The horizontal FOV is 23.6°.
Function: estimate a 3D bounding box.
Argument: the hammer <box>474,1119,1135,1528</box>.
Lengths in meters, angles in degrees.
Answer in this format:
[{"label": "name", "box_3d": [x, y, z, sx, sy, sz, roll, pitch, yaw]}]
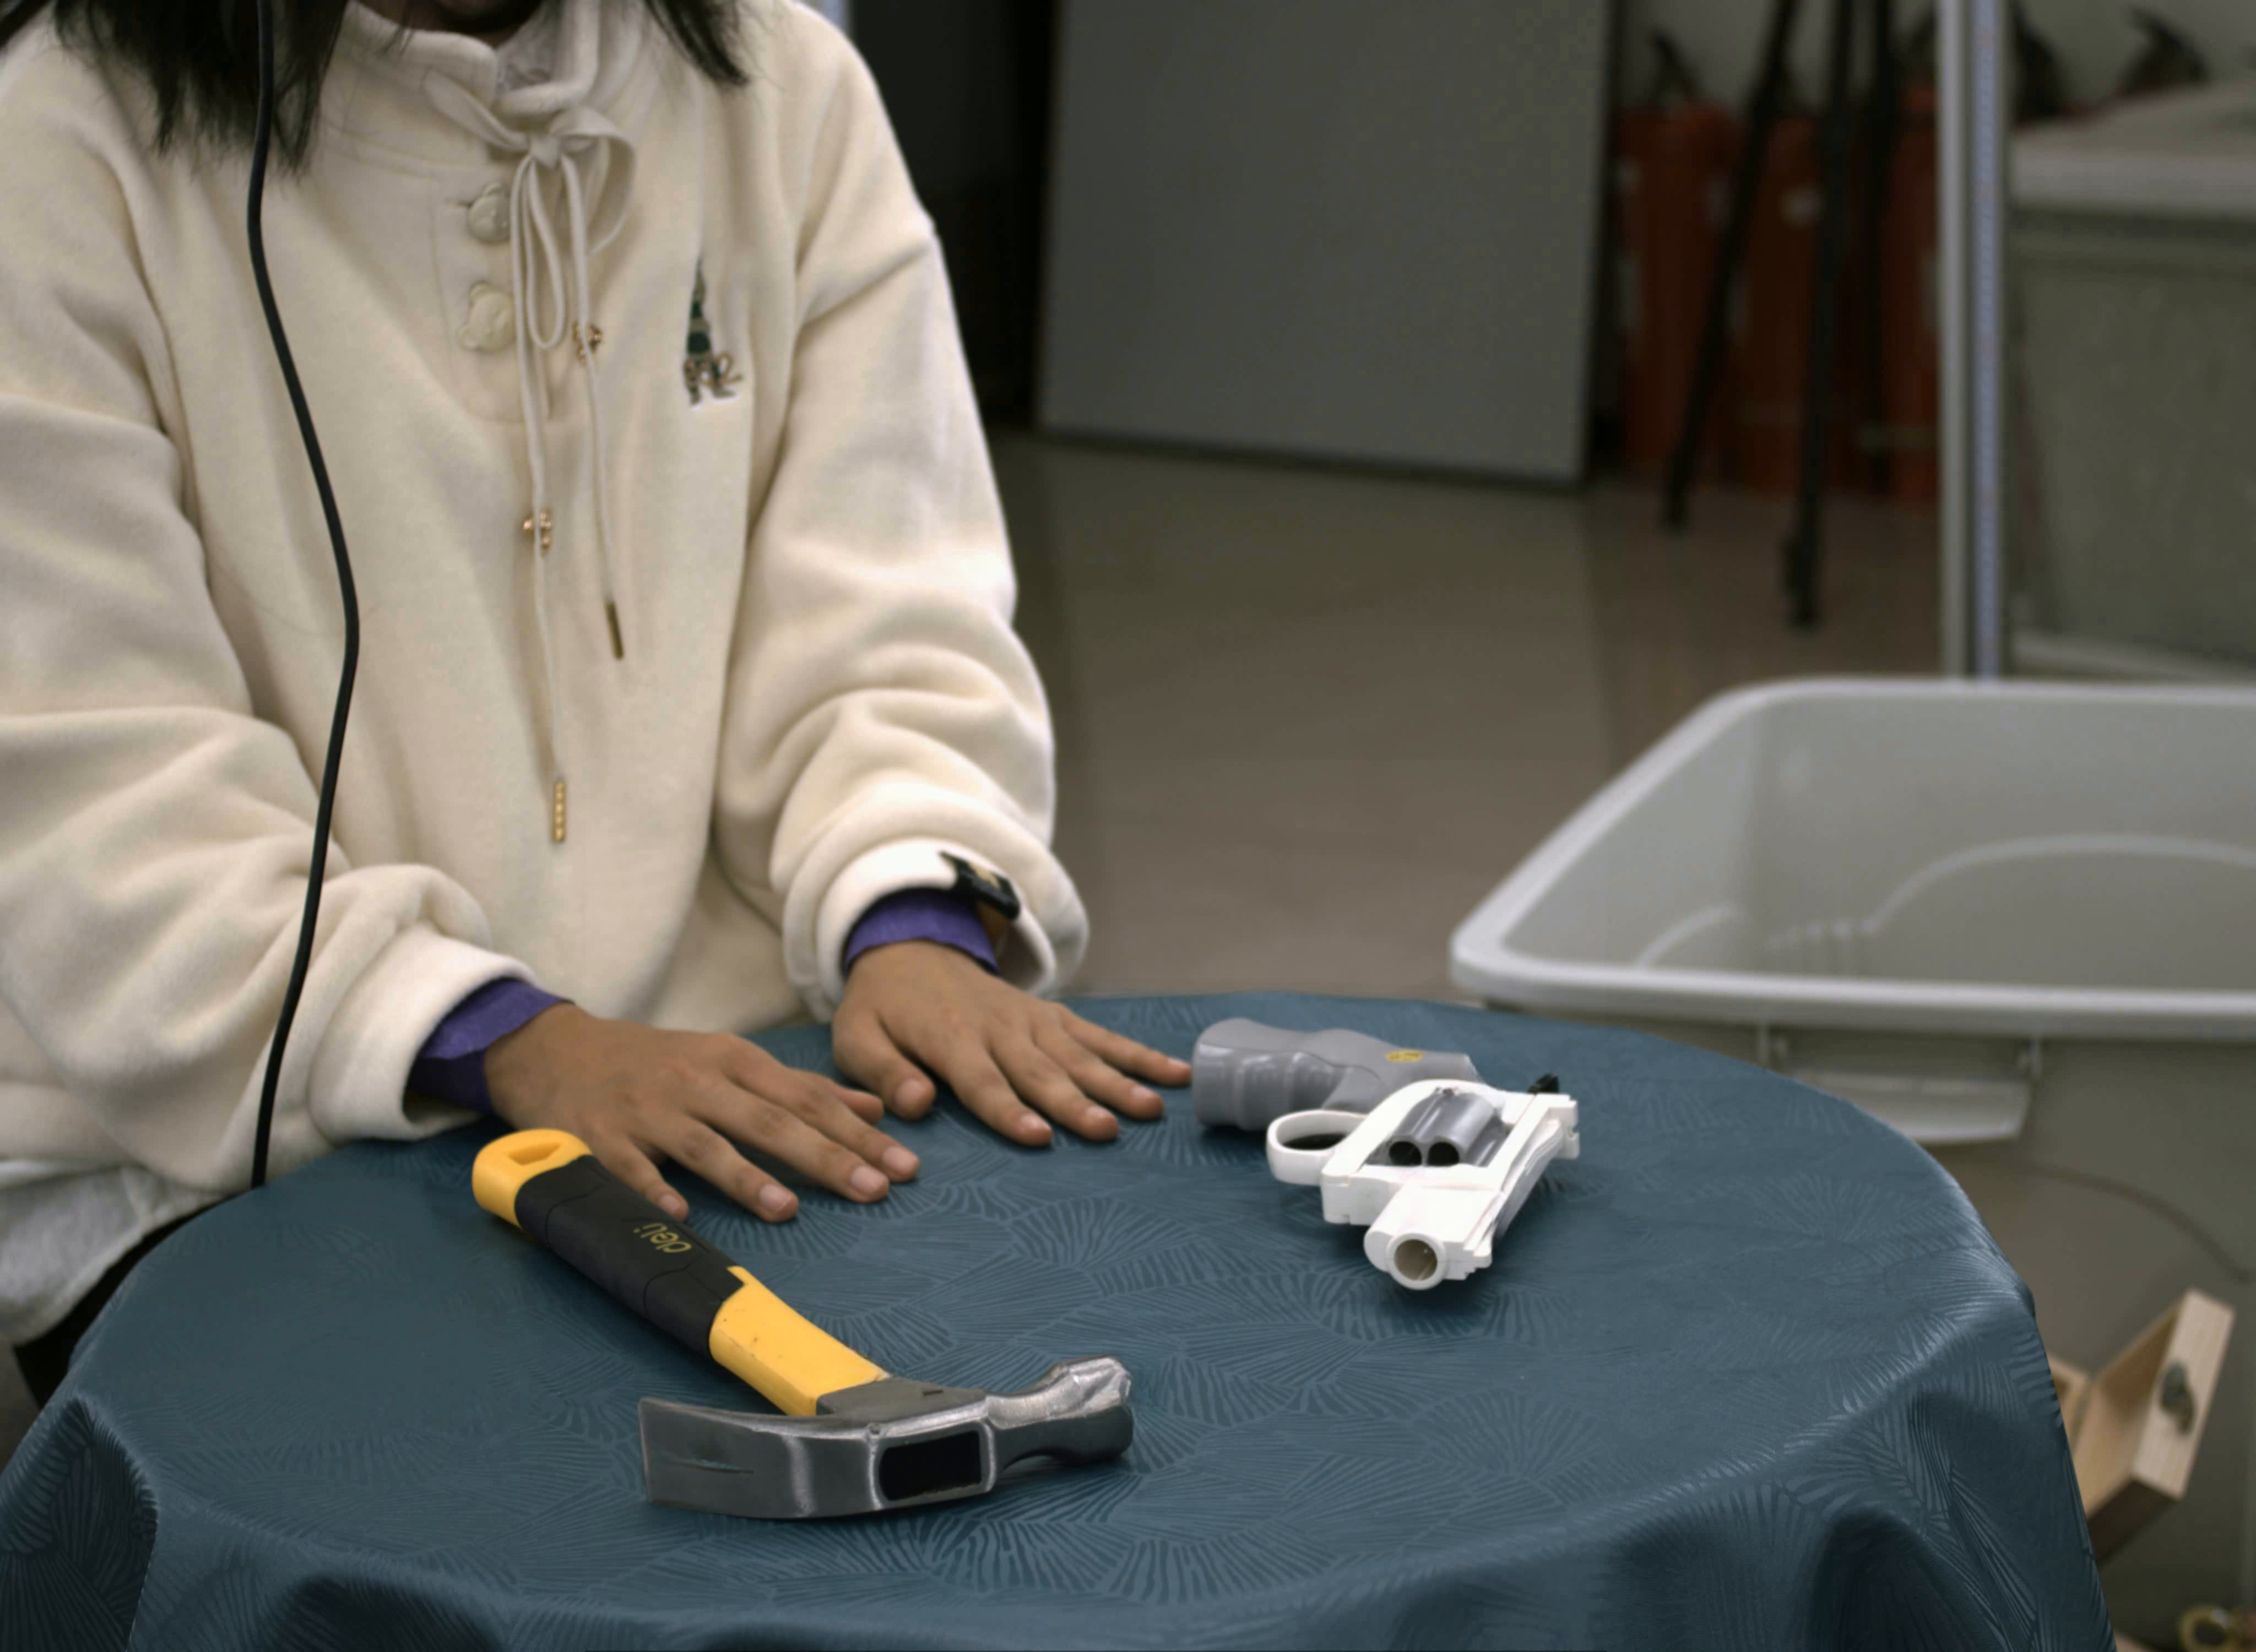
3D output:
[{"label": "hammer", "box_3d": [-0.127, 0.143, 1.644, 0.128, 0.032, 0.342, -13, 17, -23]}]

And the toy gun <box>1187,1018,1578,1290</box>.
[{"label": "toy gun", "box_3d": [0.072, 0.104, 1.737, 0.141, 0.039, 0.207, 1, 15, 15]}]
